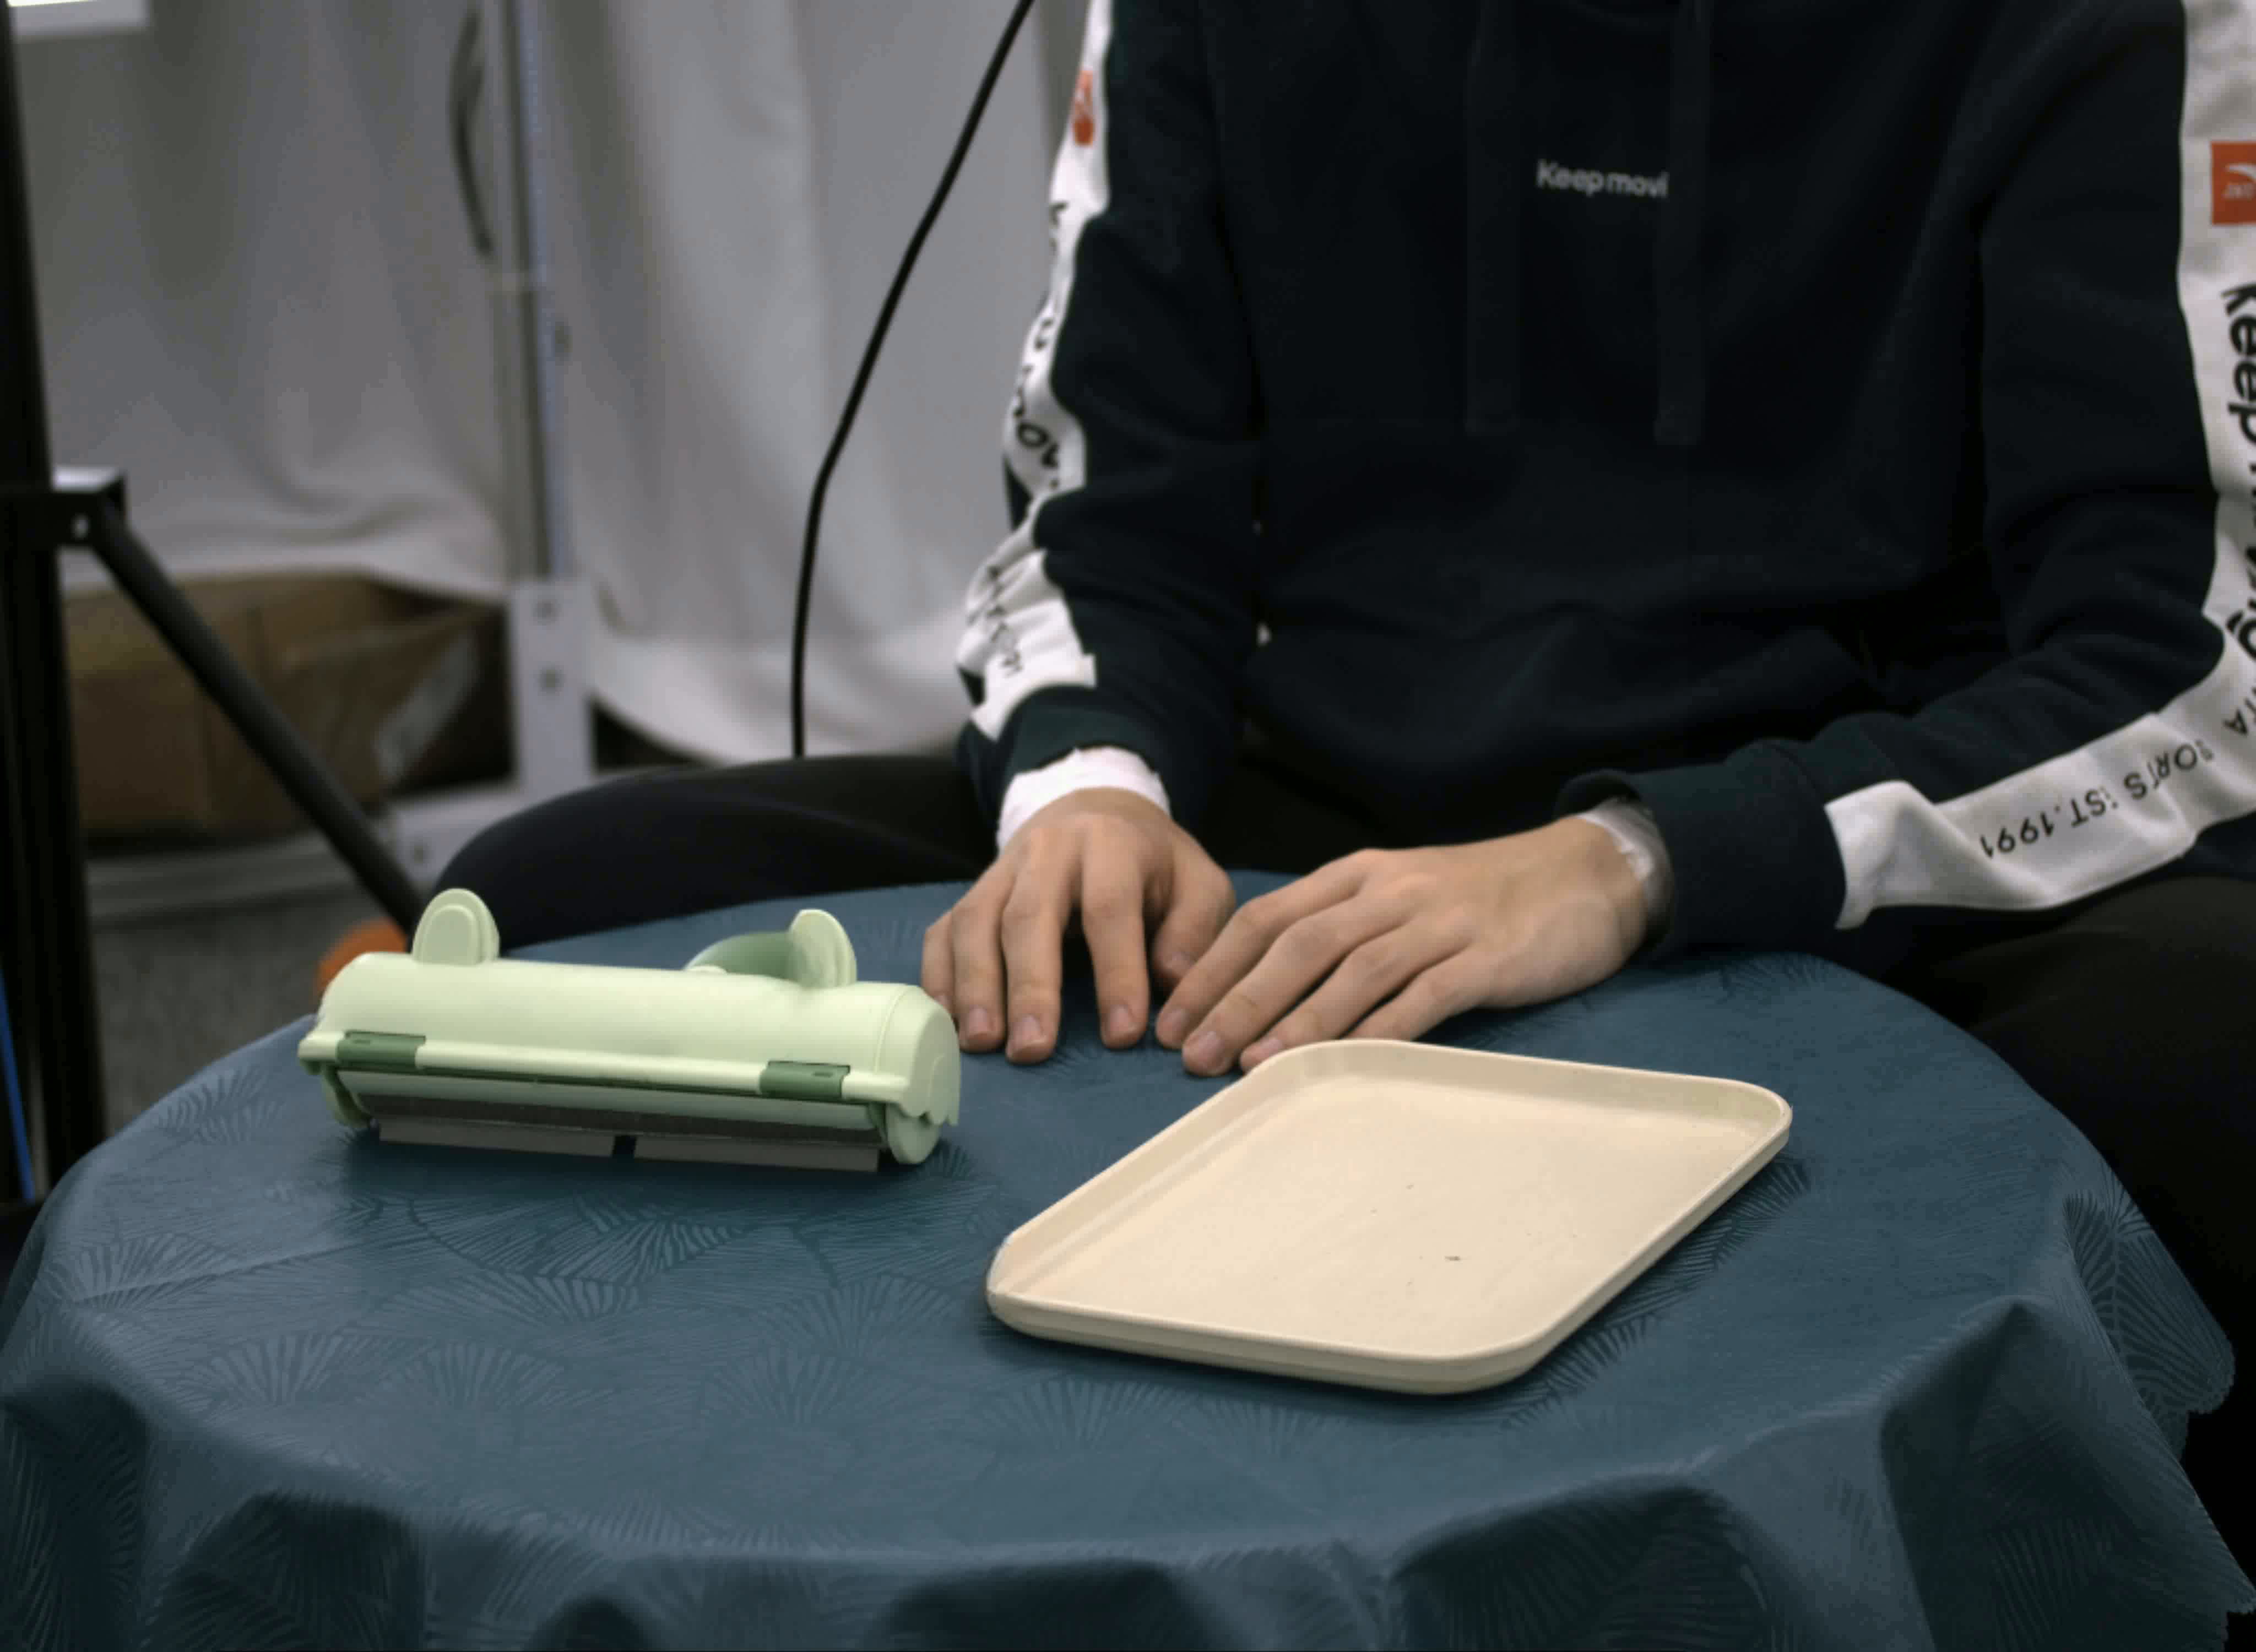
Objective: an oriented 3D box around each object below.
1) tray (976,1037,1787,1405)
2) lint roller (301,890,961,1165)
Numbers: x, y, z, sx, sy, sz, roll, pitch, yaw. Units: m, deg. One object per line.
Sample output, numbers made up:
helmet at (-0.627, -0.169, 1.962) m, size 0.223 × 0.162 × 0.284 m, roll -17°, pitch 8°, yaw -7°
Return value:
tray at (0.076, 0.110, 1.504) m, size 0.174 × 0.017 × 0.236 m, roll 6°, pitch 18°, yaw 27°
lint roller at (-0.134, 0.045, 1.663) m, size 0.200 × 0.082 × 0.182 m, roll 2°, pitch 21°, yaw 18°
